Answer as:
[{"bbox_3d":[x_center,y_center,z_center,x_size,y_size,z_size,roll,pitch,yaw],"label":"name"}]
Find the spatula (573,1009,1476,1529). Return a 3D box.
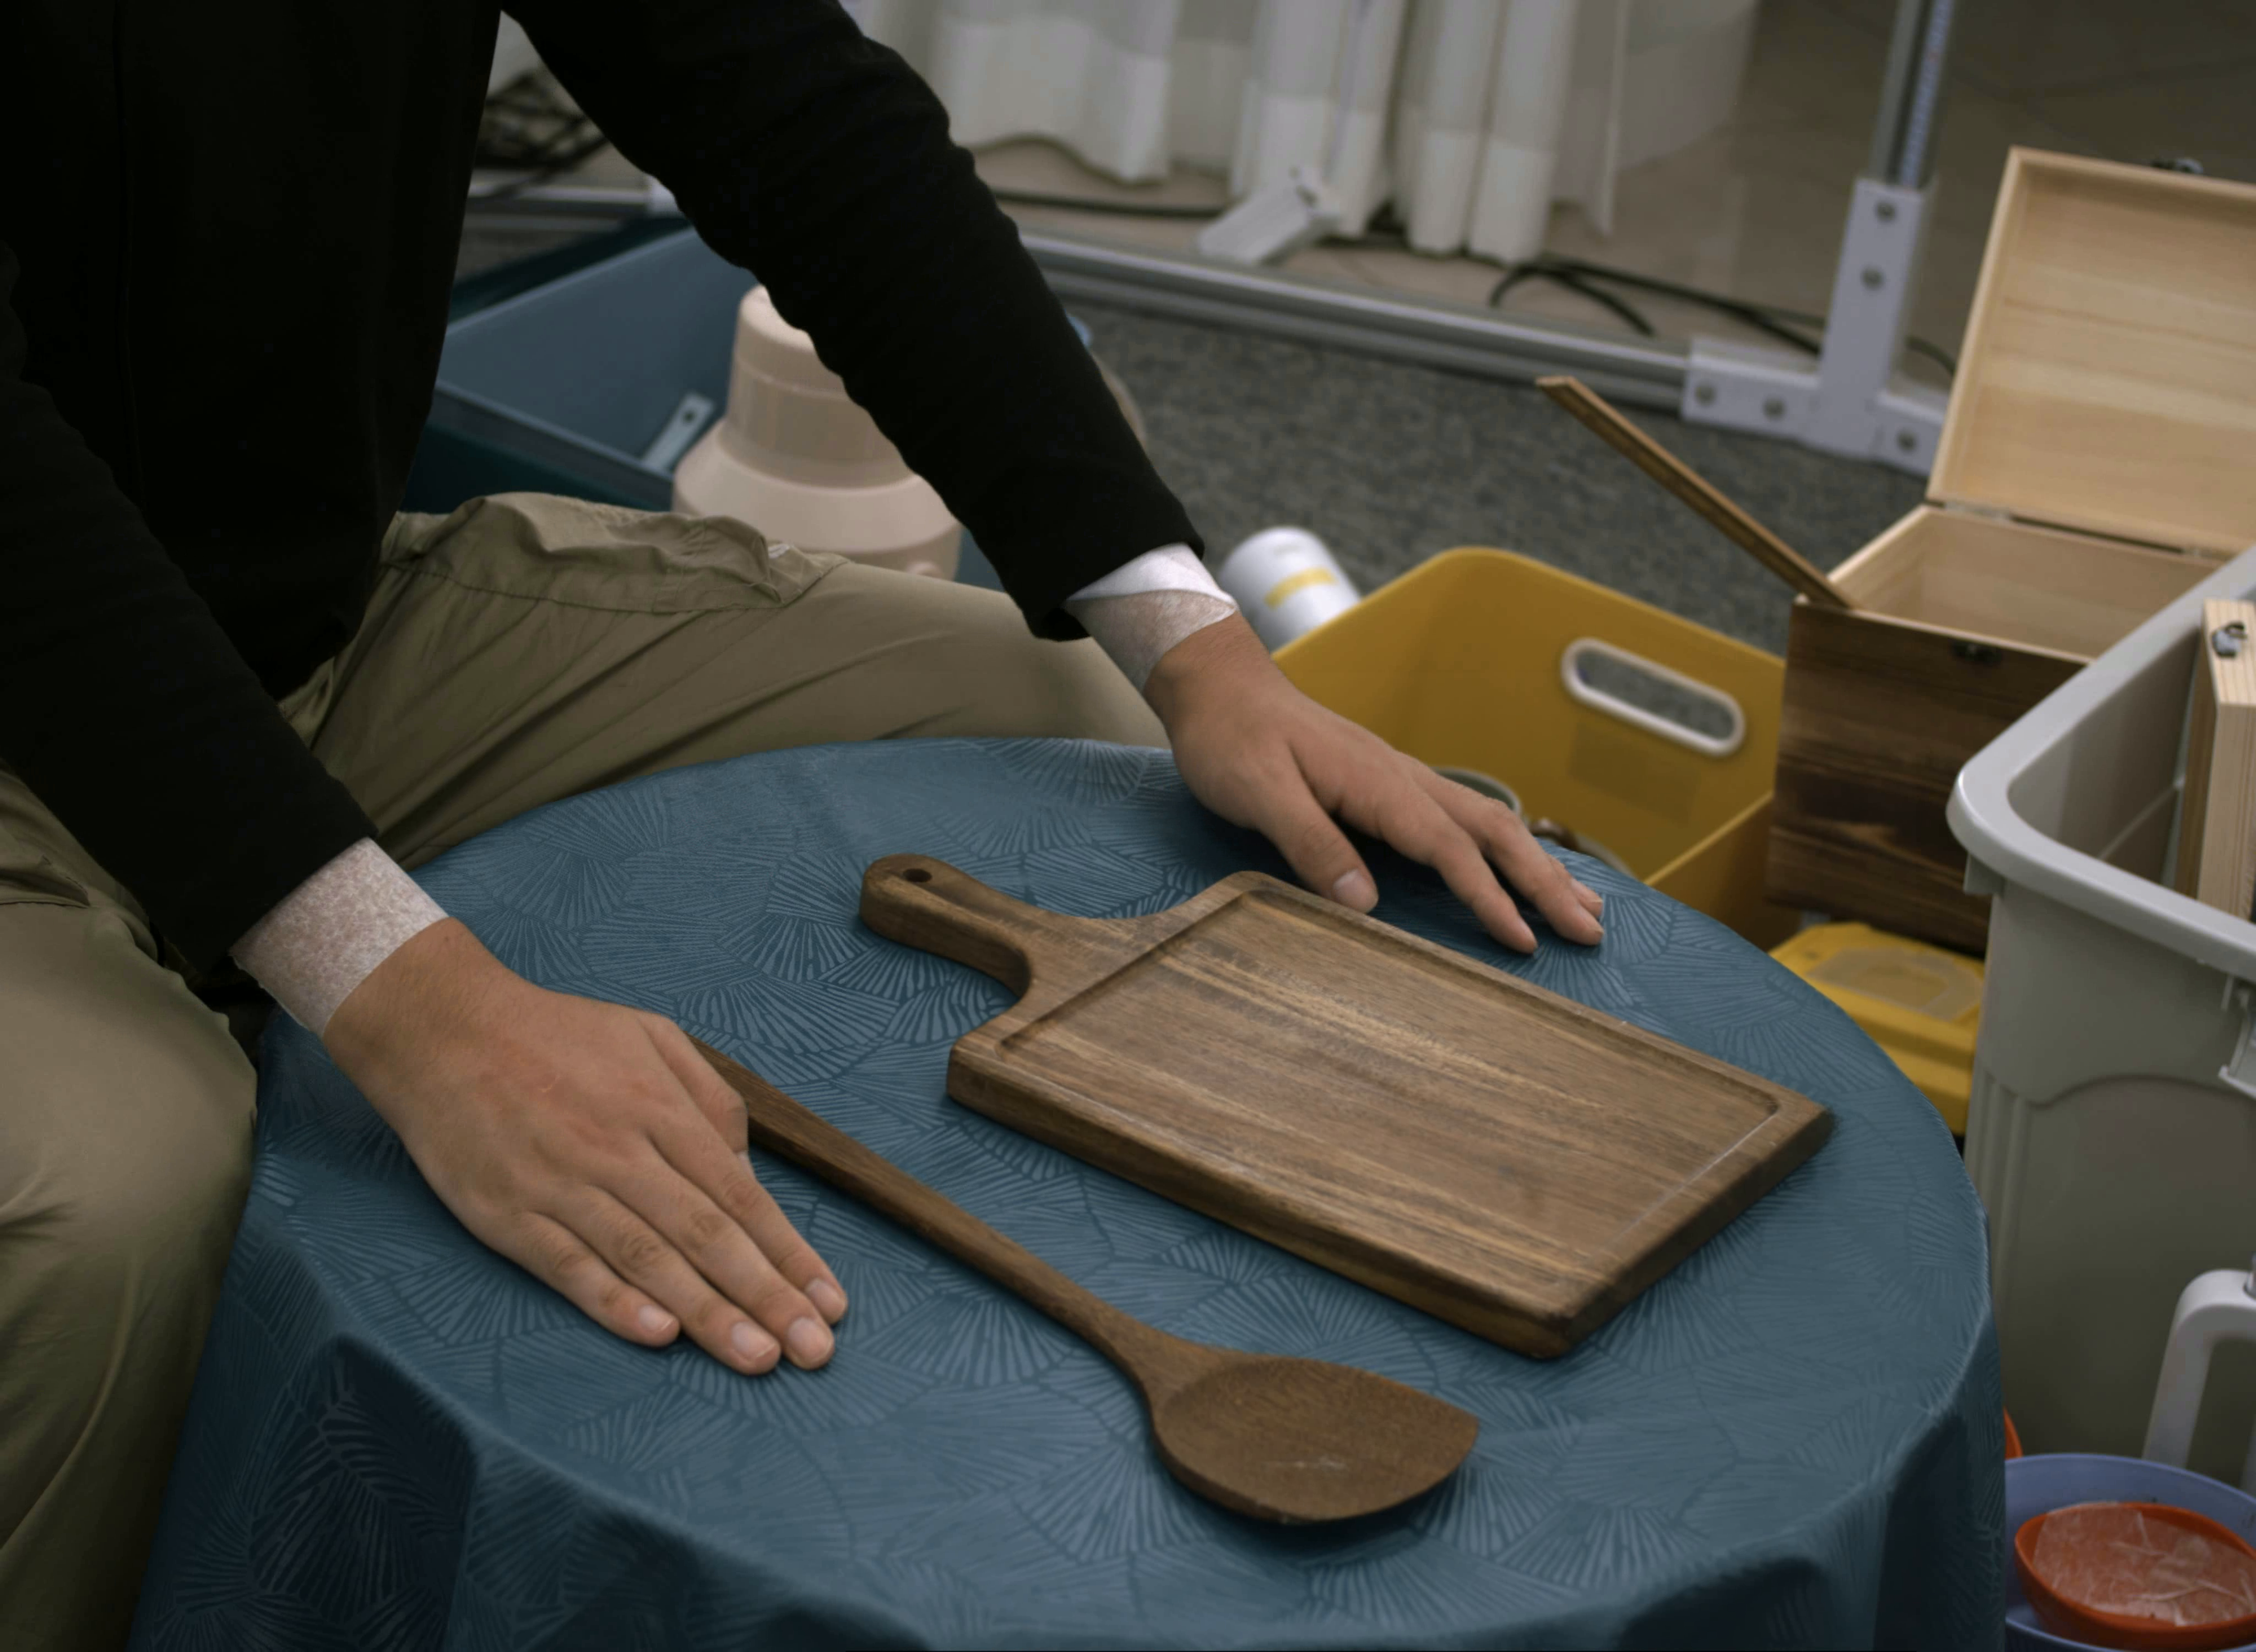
[{"bbox_3d":[-0.051,0.137,1.748,0.389,0.016,0.095,28,33,36],"label":"spatula"}]

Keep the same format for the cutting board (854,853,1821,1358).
[{"bbox_3d":[0.050,0.078,1.879,0.354,0.023,0.200,22,30,28],"label":"cutting board"}]
